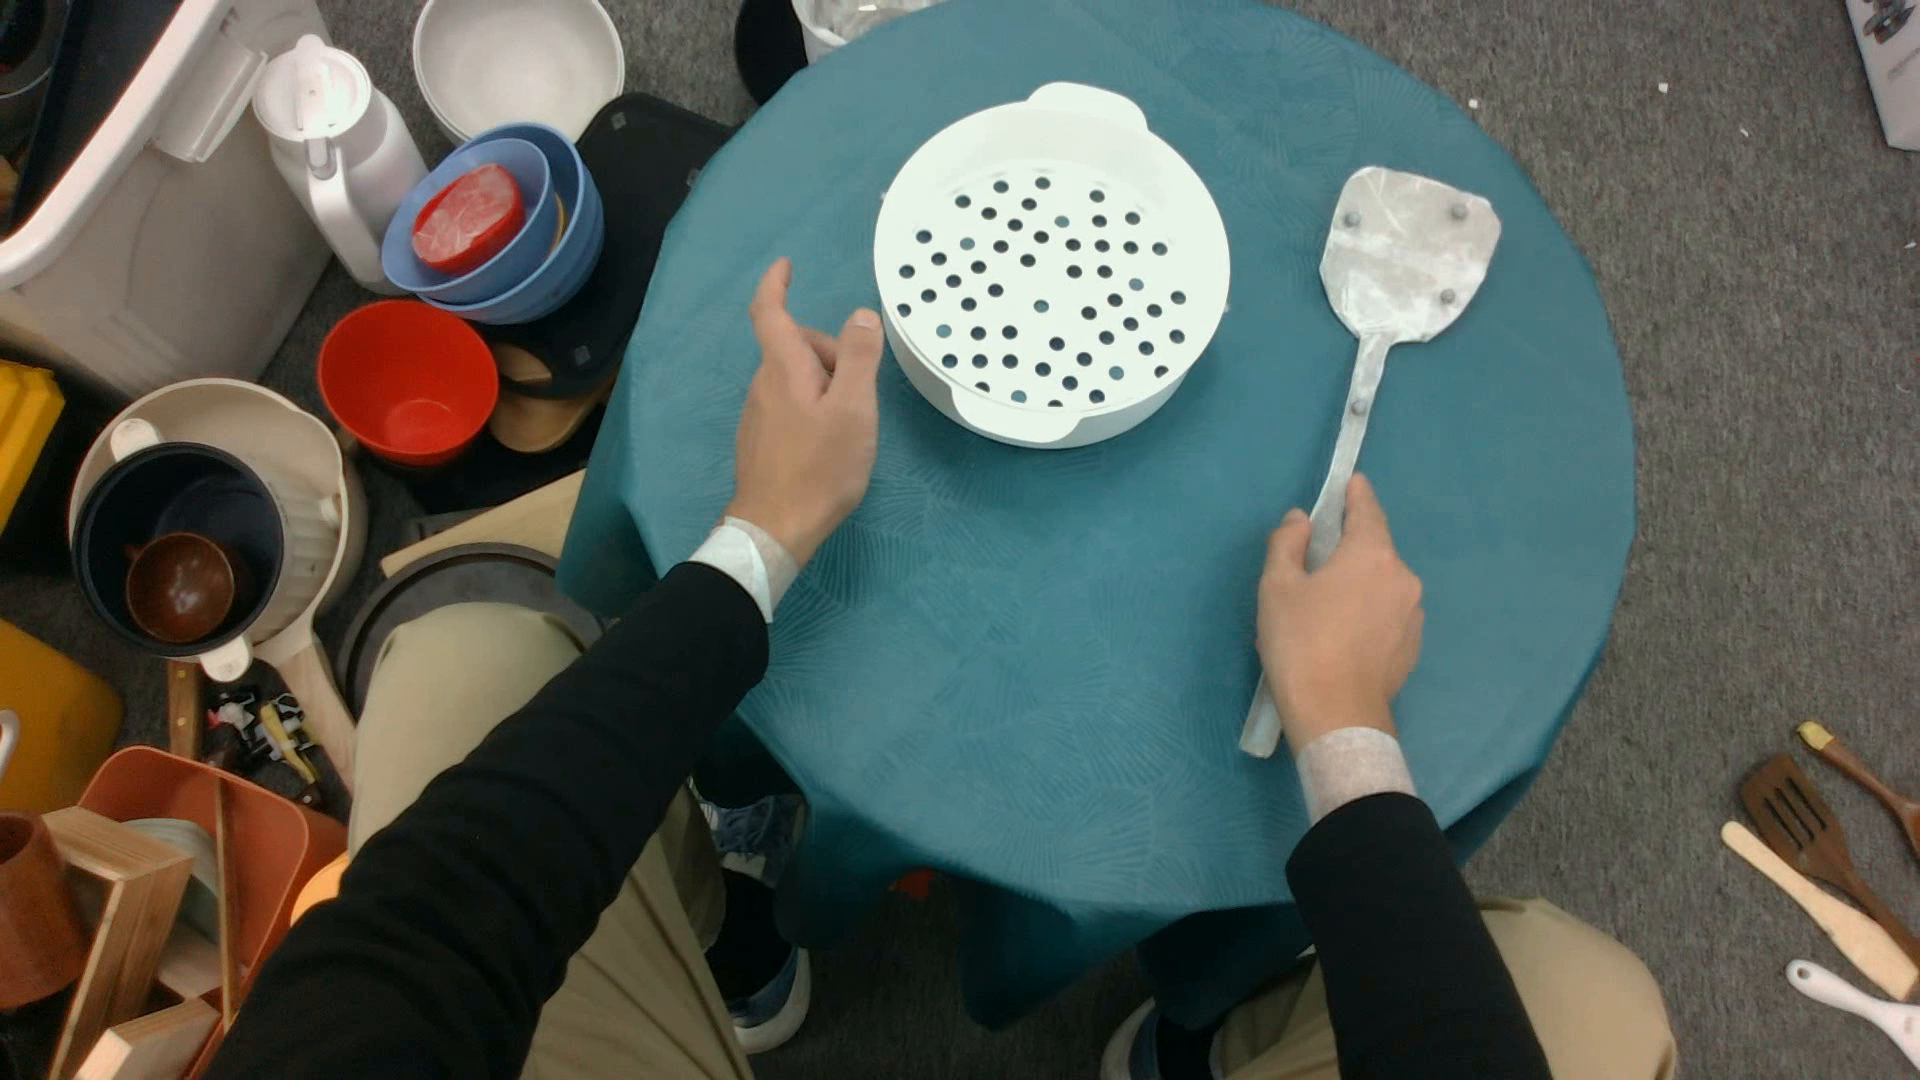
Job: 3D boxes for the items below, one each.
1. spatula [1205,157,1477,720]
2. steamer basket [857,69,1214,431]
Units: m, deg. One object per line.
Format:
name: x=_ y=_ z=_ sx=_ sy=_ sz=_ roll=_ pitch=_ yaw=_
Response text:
spatula: x=0.210 y=-0.062 z=0.795 sx=0.099 sy=0.044 sz=0.366 roll=22 pitch=68 yaw=1
steamer basket: x=0.042 y=-0.161 z=0.803 sx=0.202 sy=0.069 sz=0.231 roll=14 pitch=71 yaw=2
